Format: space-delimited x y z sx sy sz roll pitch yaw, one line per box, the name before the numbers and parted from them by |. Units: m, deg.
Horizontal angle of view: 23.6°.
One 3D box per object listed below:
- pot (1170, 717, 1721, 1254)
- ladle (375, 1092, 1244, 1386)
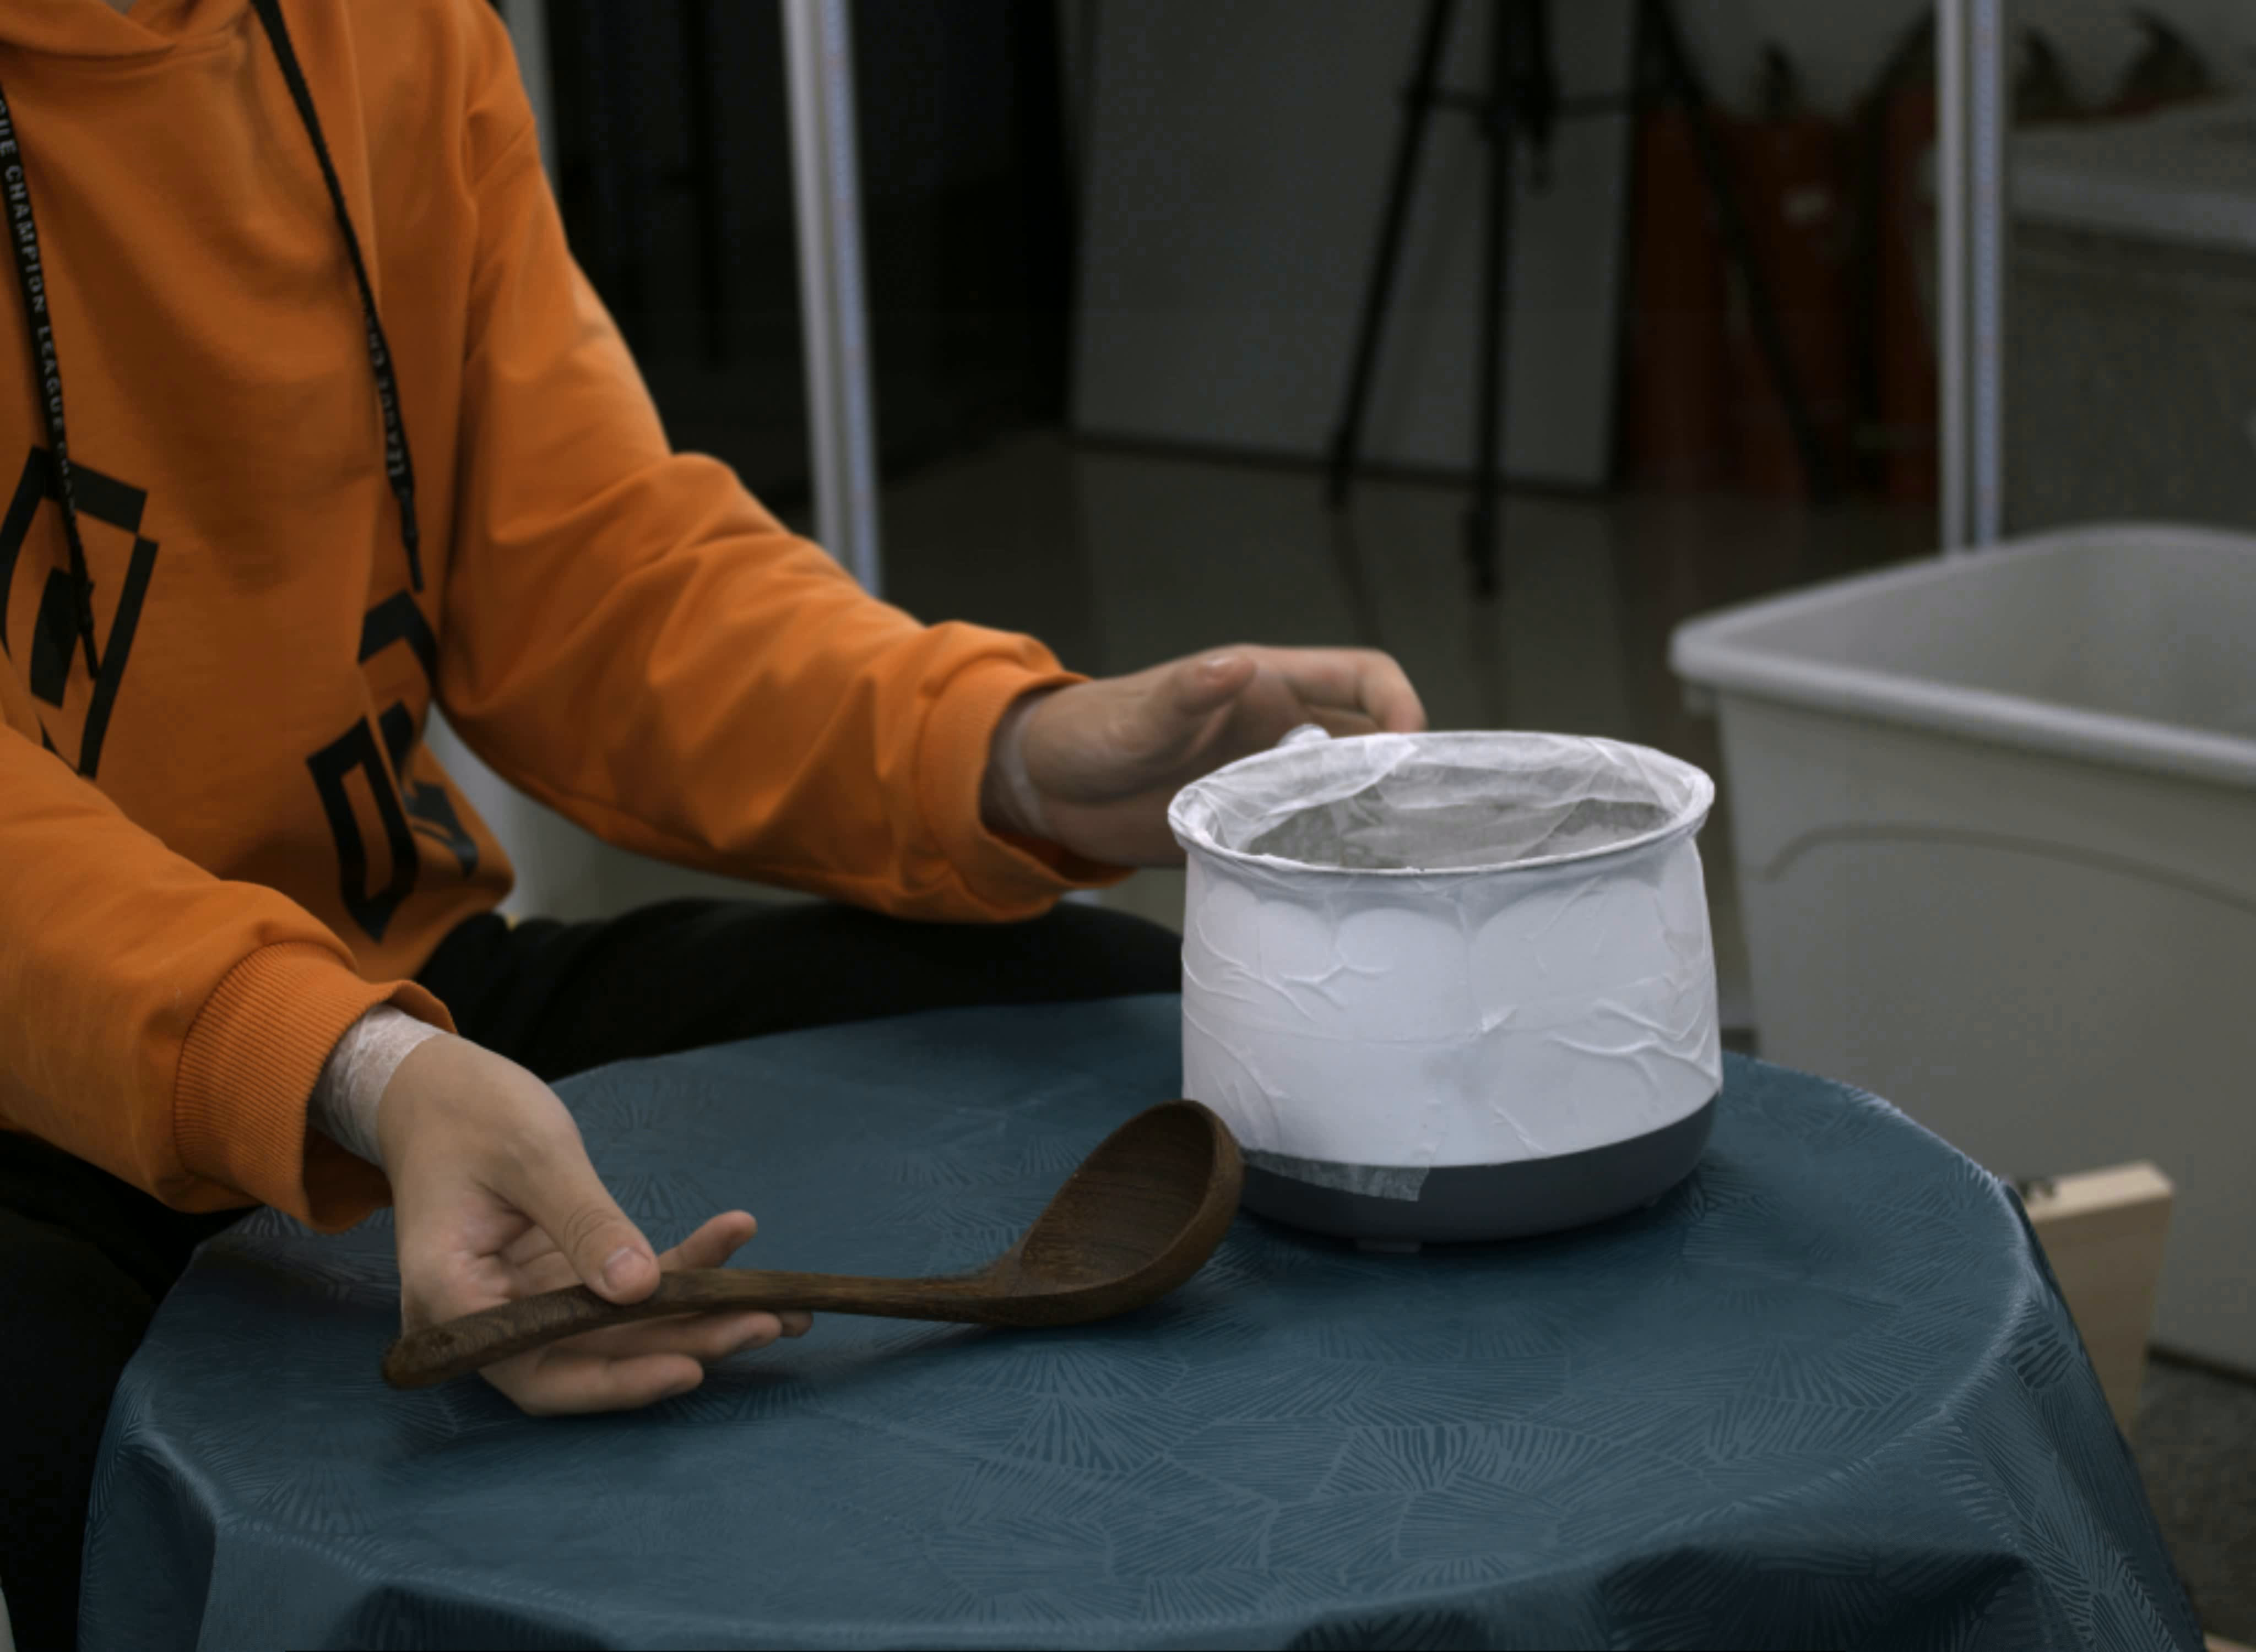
pot | 0.091 0.045 1.762 0.175 0.138 0.236 -9 15 -23
ladle | -0.092 0.122 1.614 0.268 0.072 0.077 -2 10 -23
